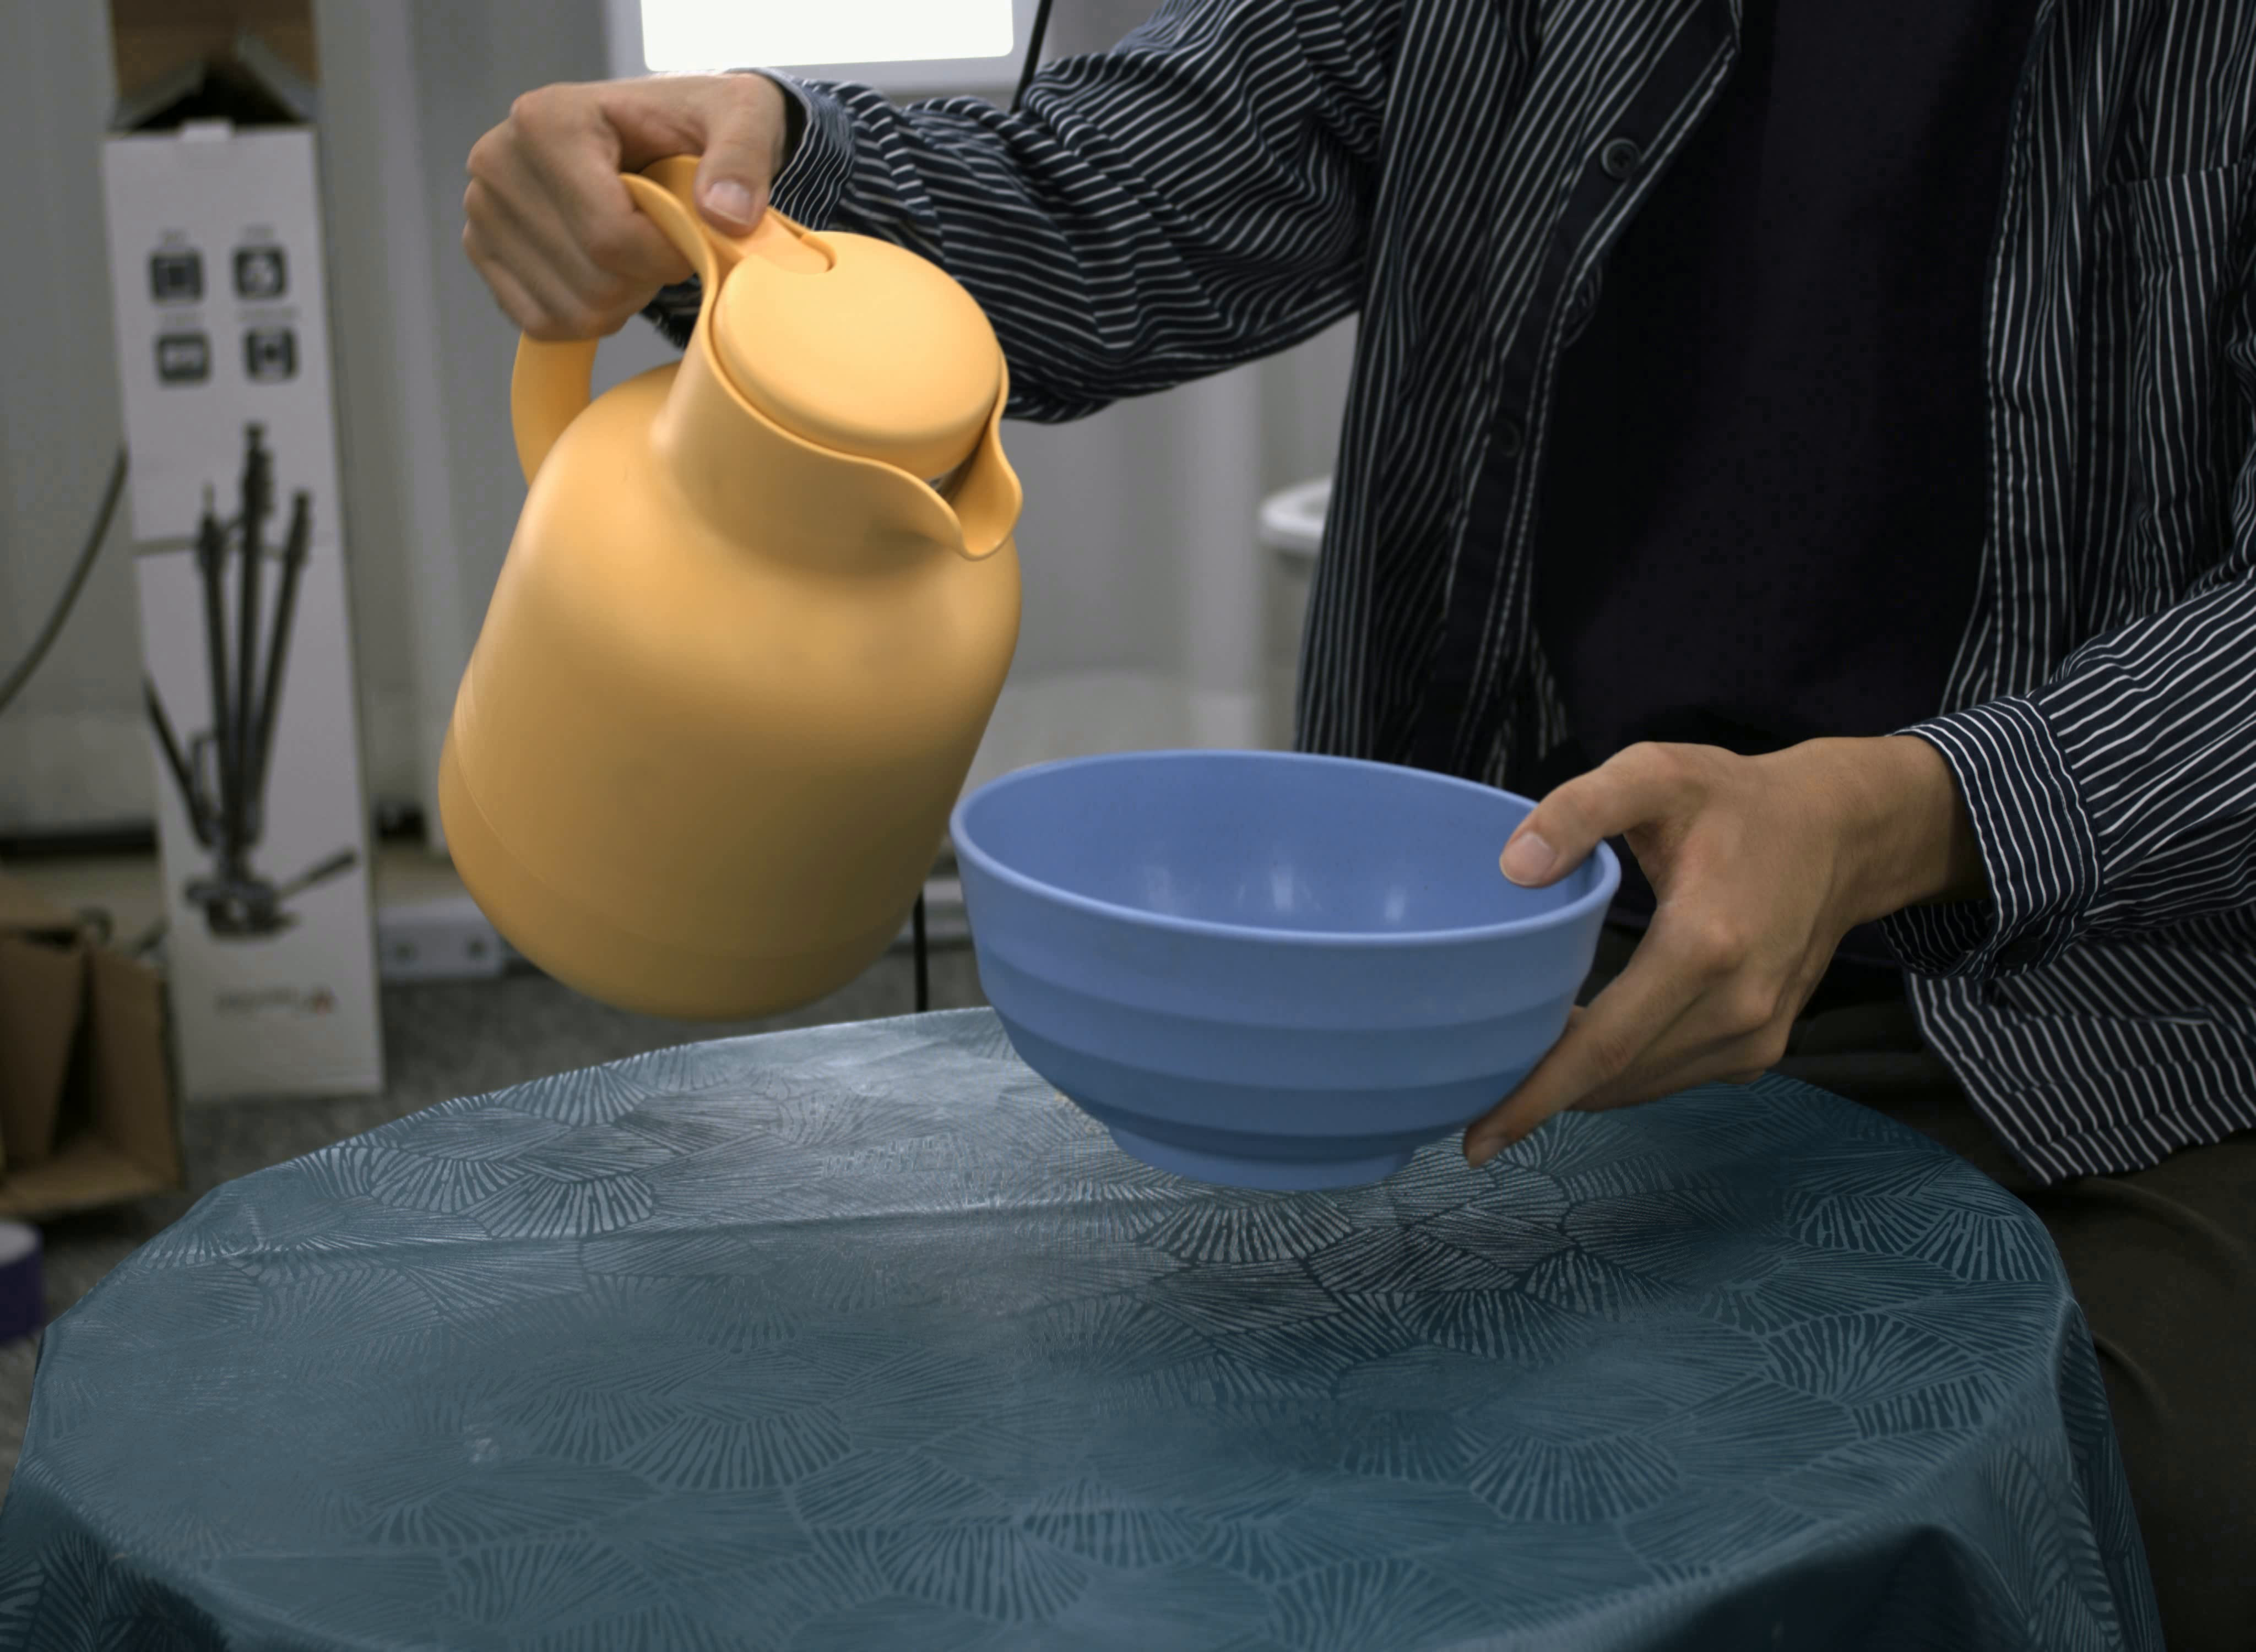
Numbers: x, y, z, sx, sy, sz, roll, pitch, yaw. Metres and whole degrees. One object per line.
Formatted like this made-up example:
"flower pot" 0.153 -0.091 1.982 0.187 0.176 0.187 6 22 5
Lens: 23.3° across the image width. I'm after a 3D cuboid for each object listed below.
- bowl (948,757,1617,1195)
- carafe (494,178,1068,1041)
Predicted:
"bowl" 0.042 0.049 1.610 0.196 0.095 0.198 3 15 -1
"carafe" -0.112 -0.076 1.734 0.163 0.258 0.204 -23 60 -37
